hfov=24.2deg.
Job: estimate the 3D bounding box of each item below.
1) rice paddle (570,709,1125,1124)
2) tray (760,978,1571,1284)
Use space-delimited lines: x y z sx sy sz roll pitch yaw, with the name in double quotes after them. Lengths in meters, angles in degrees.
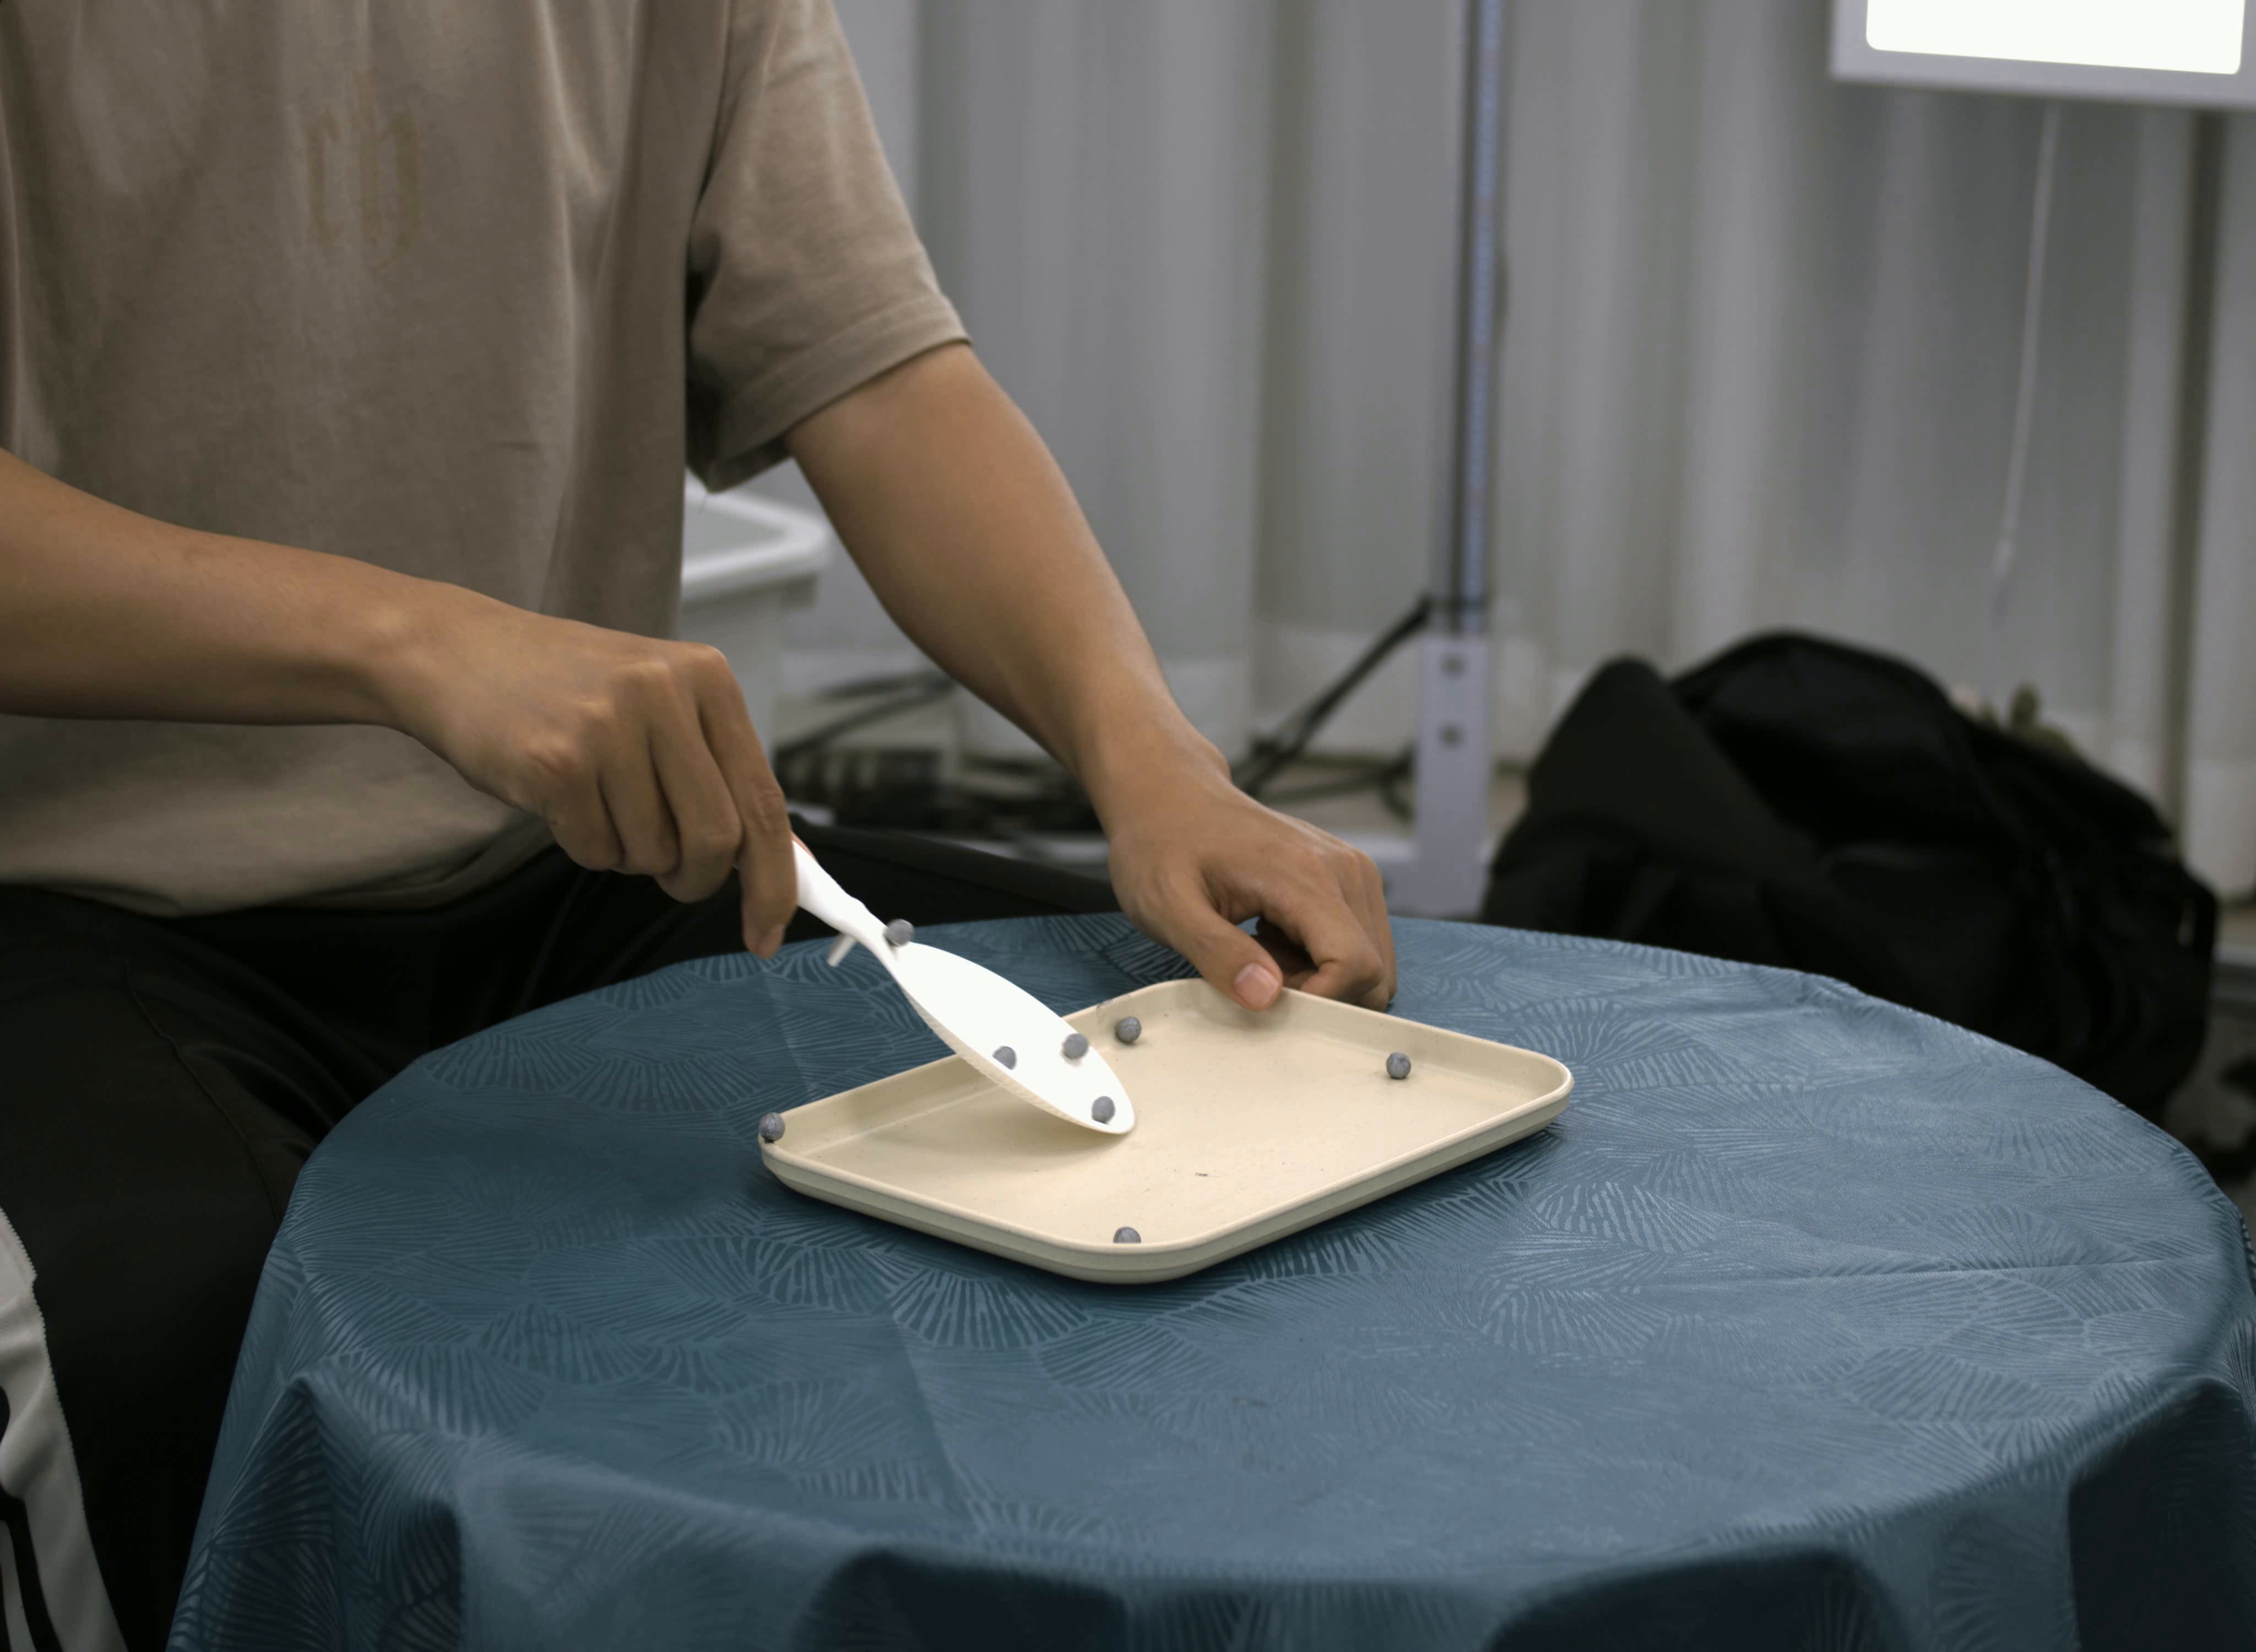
-0.082 0.032 1.650 0.206 0.029 0.068 35 18 -12 "rice paddle"
0.014 0.095 1.657 0.169 0.017 0.241 14 20 38 "tray"
